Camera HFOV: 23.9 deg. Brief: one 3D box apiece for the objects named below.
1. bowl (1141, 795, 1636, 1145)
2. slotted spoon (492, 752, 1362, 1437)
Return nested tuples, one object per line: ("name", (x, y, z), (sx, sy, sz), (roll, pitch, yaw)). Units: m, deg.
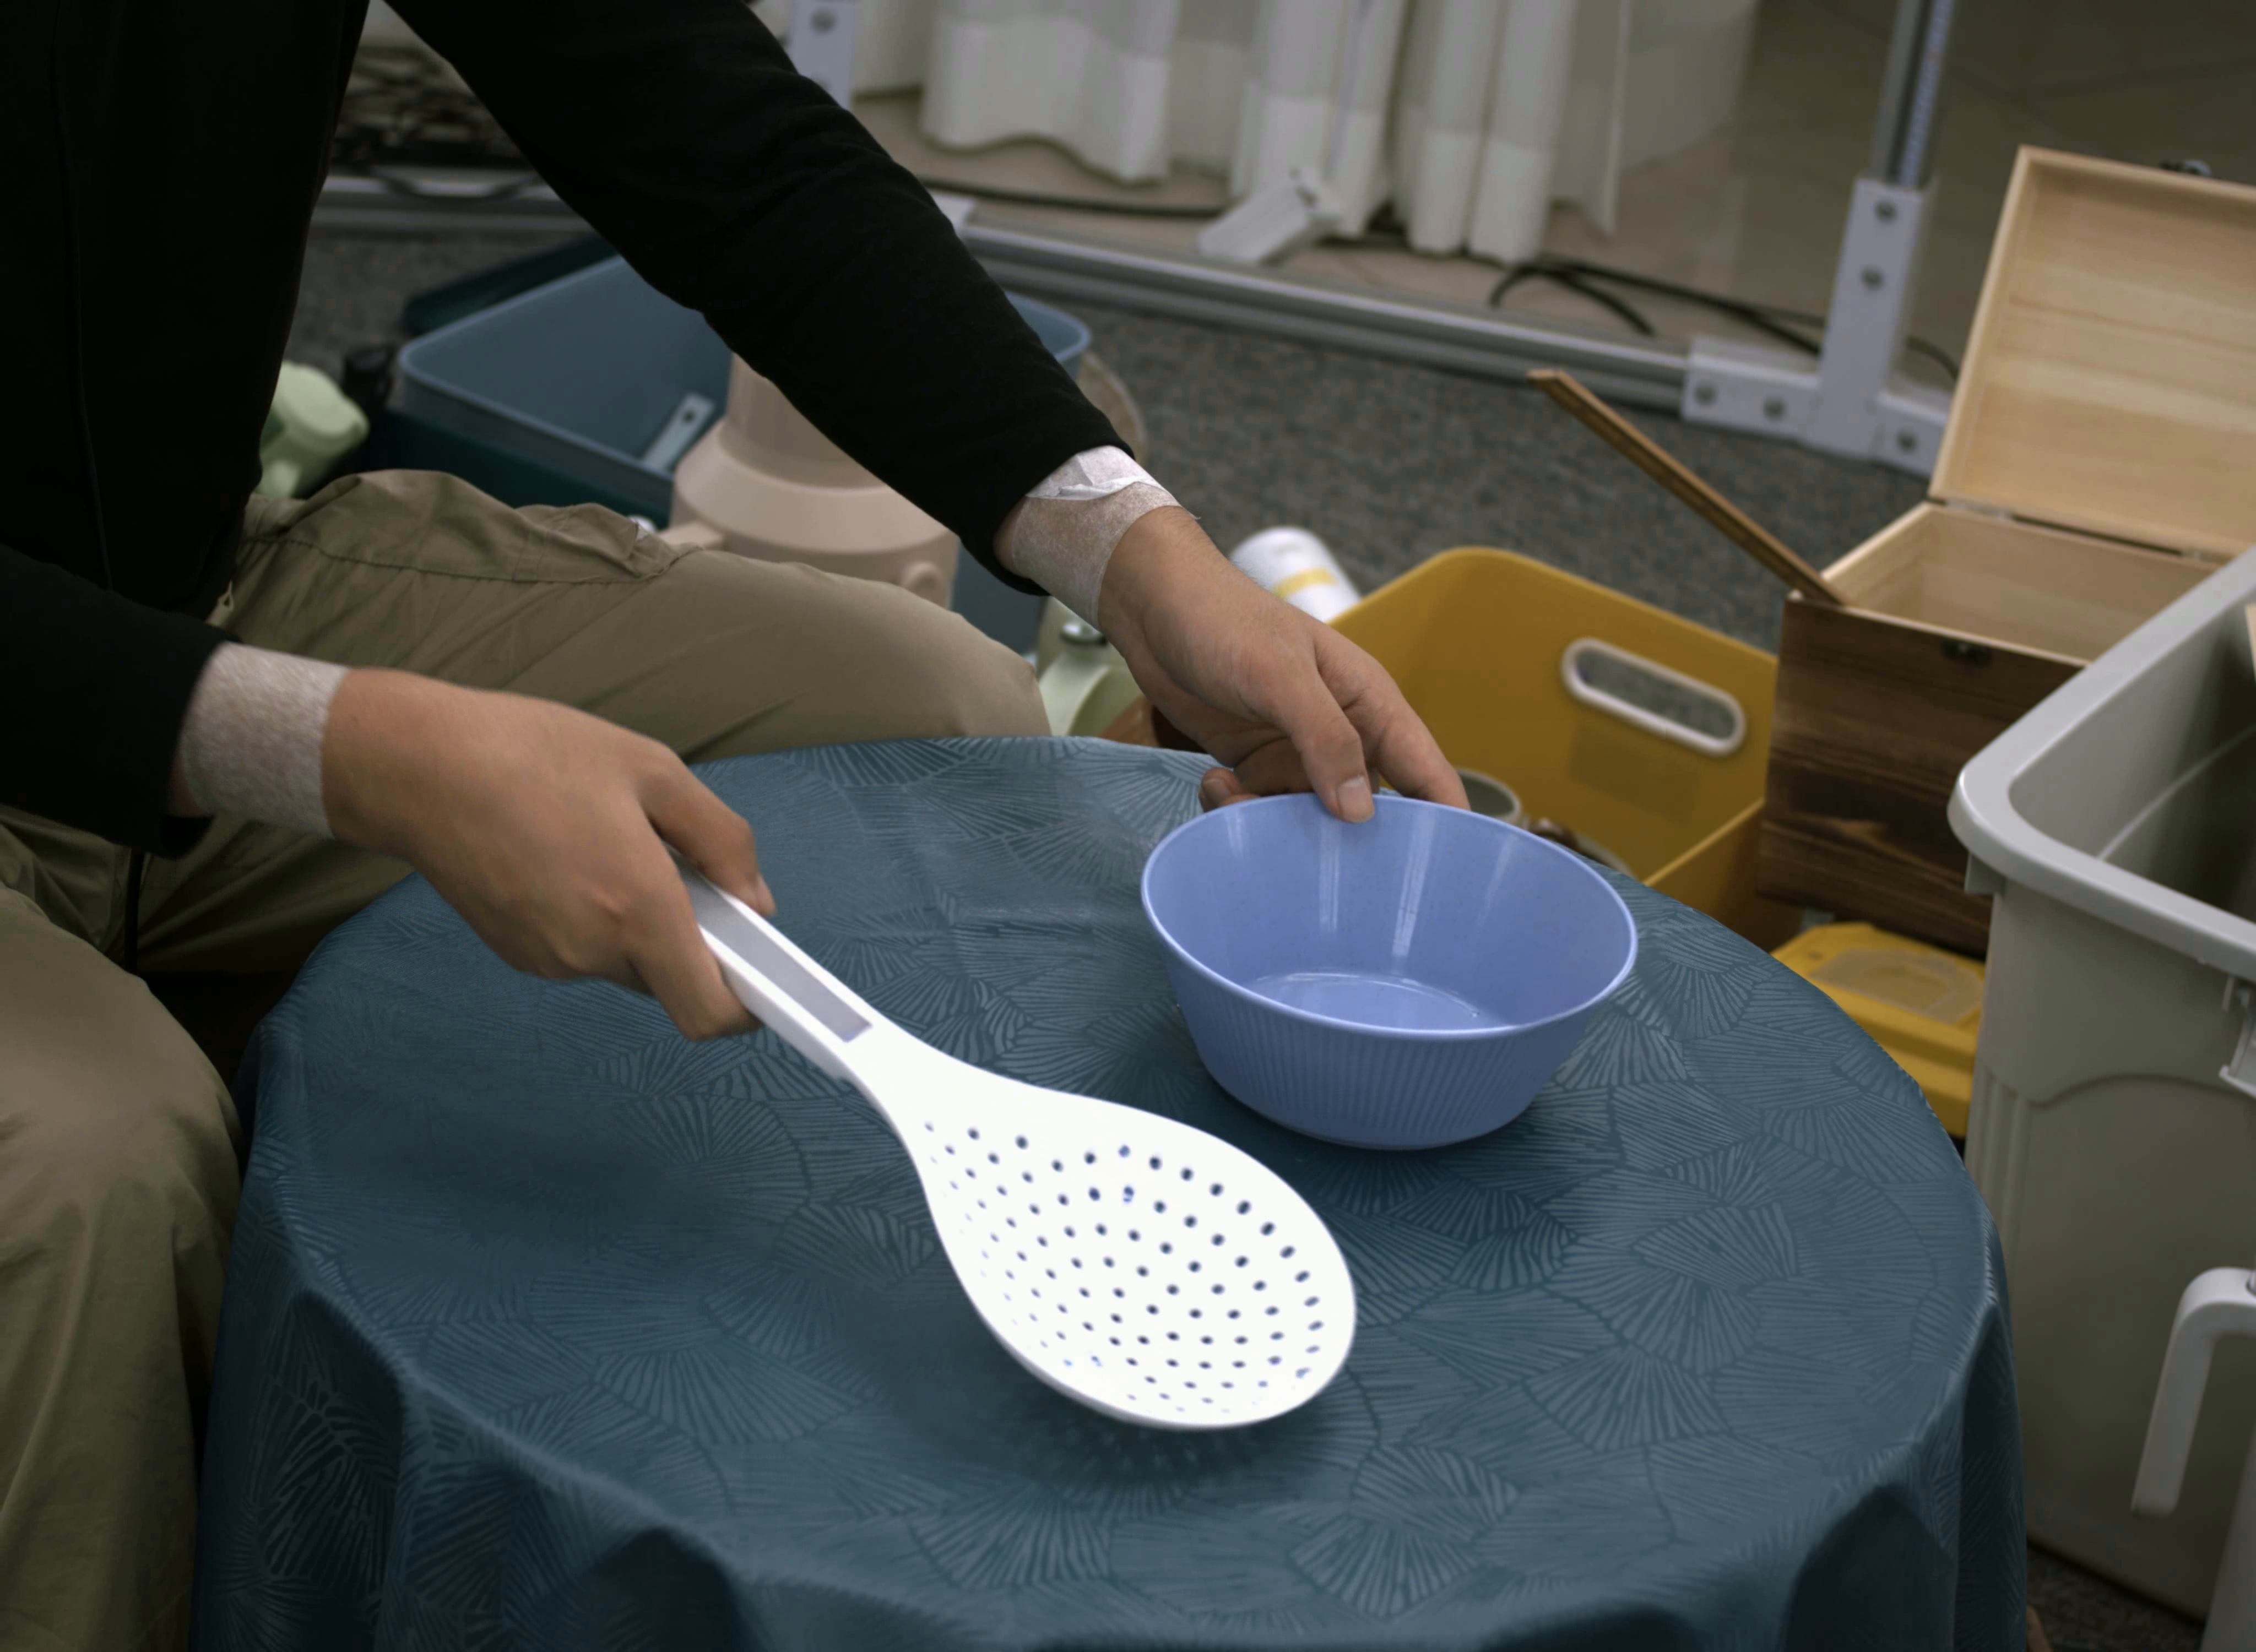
("bowl", (0.088, 0.056, 1.876), (0.175, 0.070, 0.177), (5, 26, -3))
("slotted spoon", (-0.075, 0.083, 1.721), (0.351, 0.045, 0.136), (40, 44, 16))
